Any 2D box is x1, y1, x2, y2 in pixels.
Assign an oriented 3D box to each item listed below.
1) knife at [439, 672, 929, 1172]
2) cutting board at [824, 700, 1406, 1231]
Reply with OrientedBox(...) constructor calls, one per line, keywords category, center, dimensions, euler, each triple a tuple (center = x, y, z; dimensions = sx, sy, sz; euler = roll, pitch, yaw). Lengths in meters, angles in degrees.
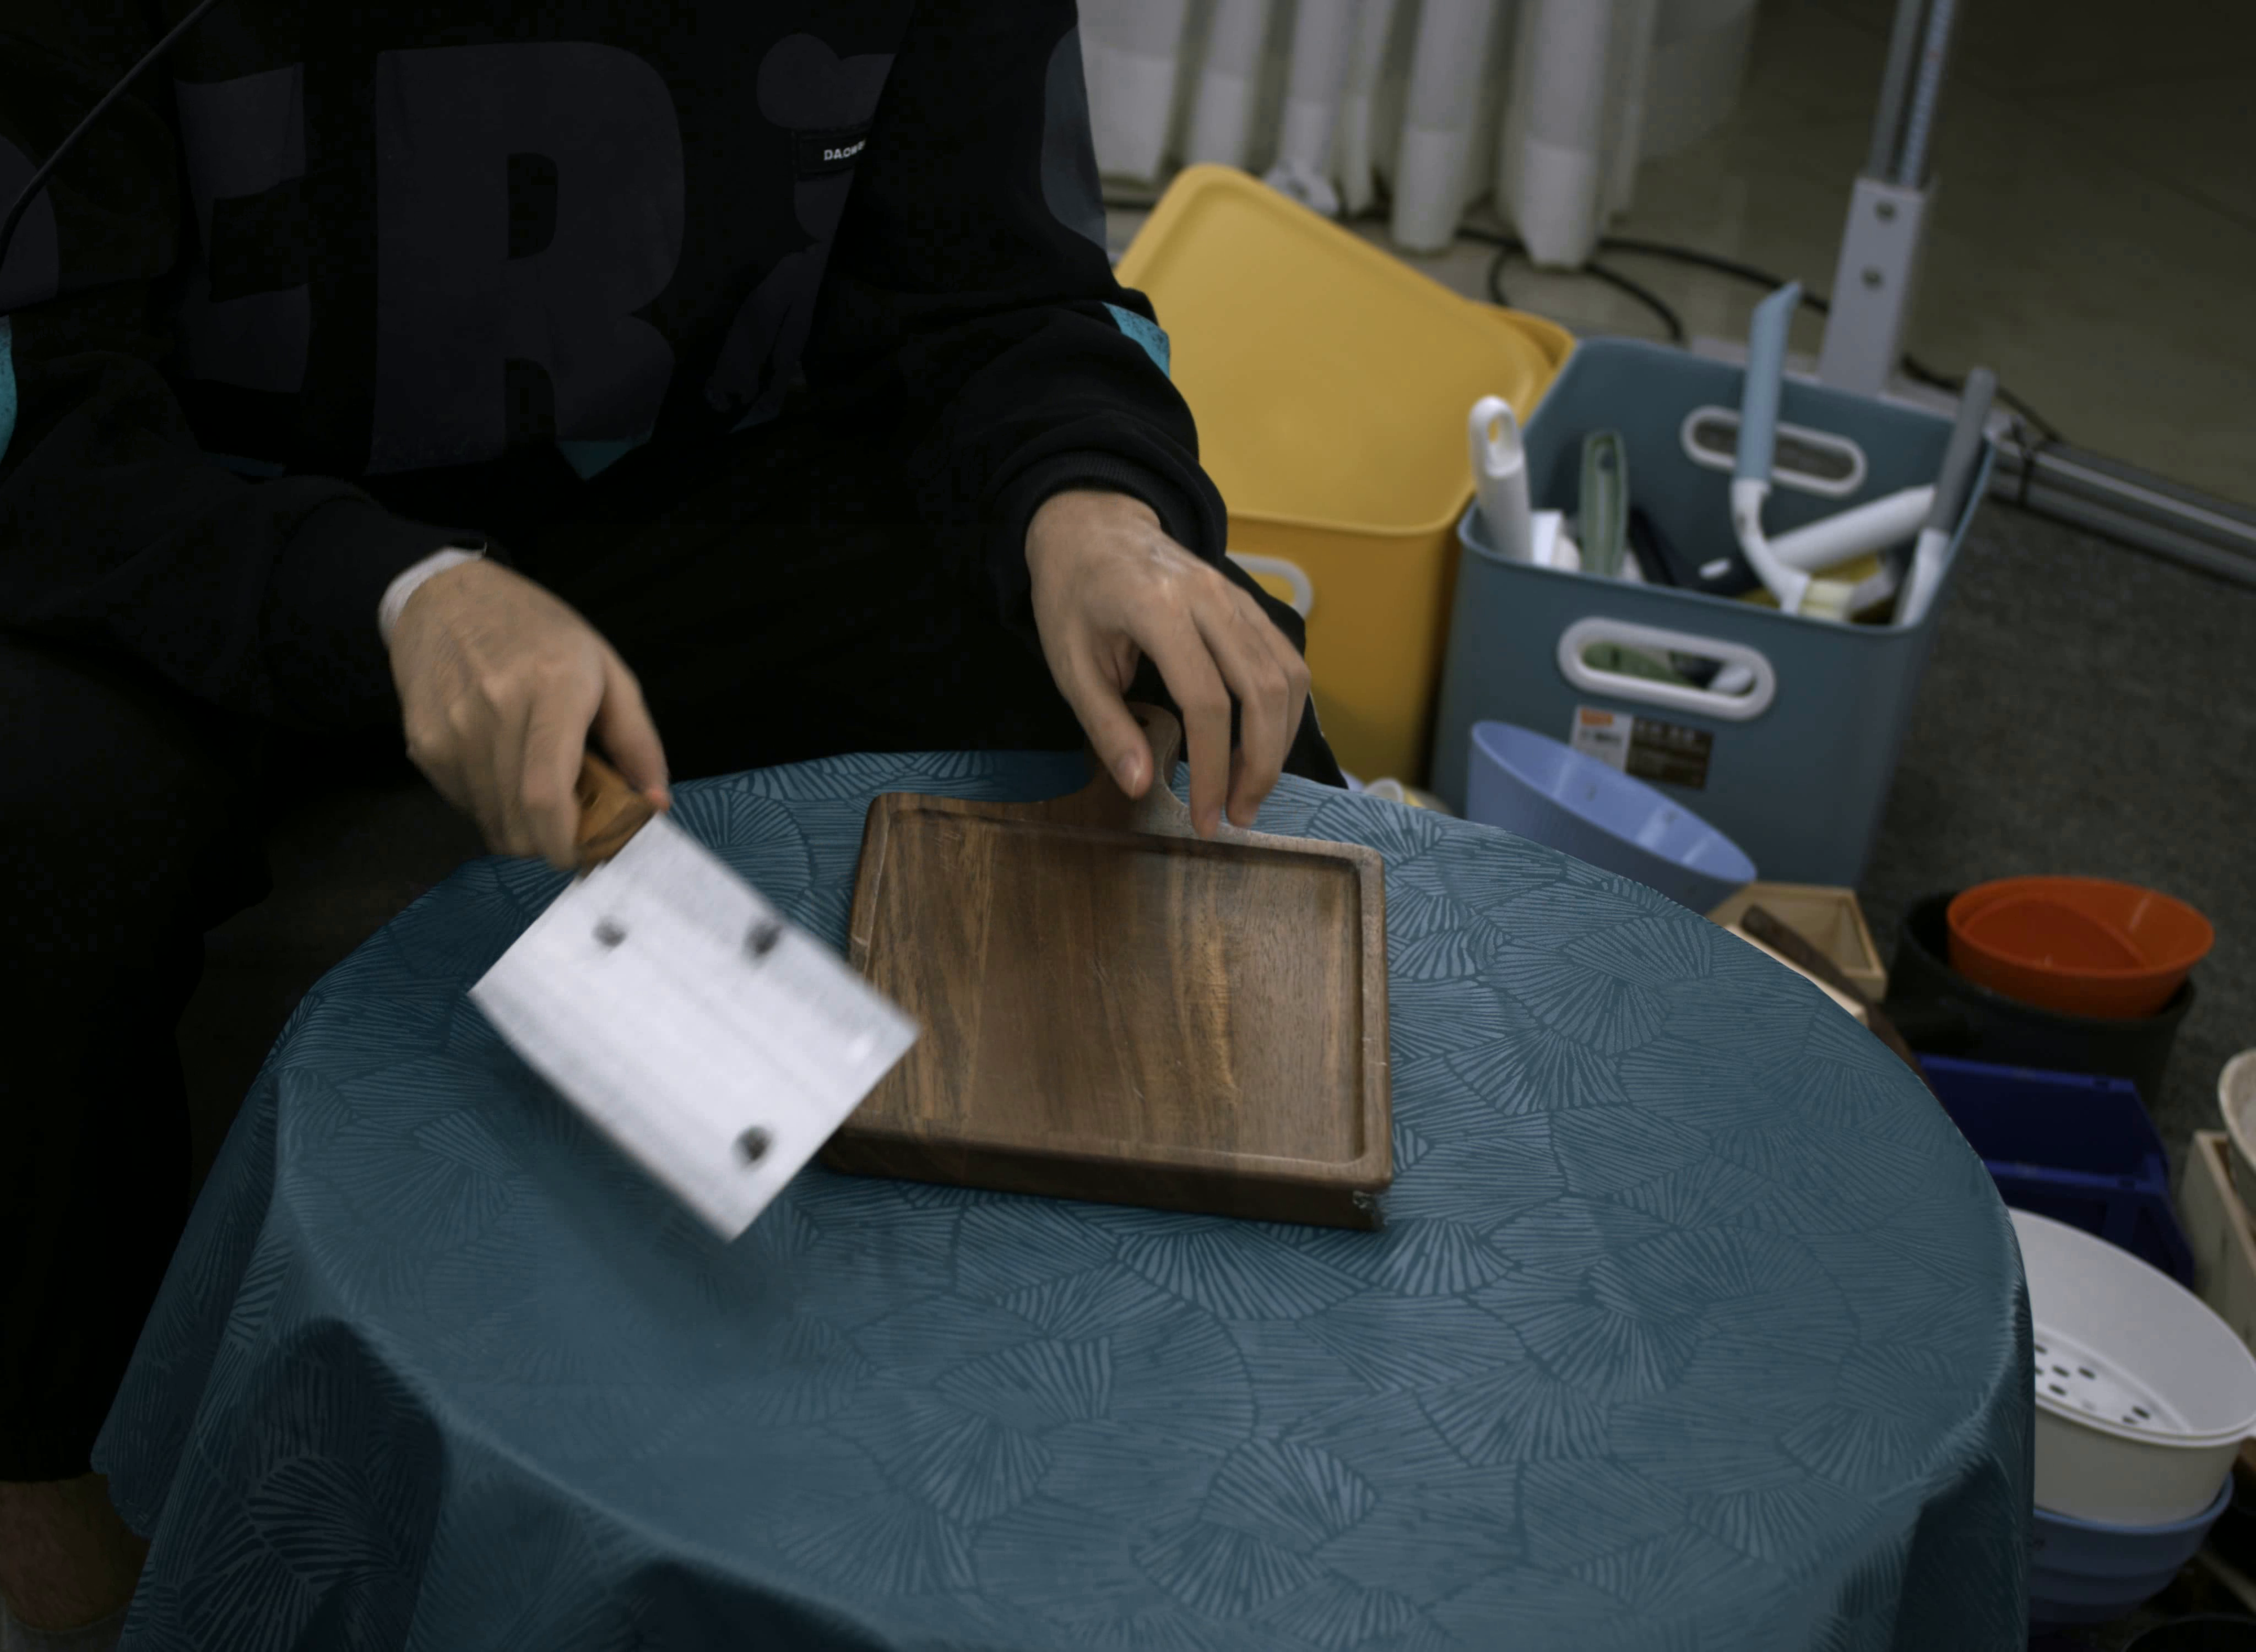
OrientedBox(category="knife", center=(-0.170, 0.033, 1.801), dimensions=(0.021, 0.093, 0.308), euler=(44, -5, -40))
OrientedBox(category="cutting board", center=(-0.003, 0.040, 1.942), dimensions=(0.200, 0.023, 0.354), euler=(6, 27, -2))
